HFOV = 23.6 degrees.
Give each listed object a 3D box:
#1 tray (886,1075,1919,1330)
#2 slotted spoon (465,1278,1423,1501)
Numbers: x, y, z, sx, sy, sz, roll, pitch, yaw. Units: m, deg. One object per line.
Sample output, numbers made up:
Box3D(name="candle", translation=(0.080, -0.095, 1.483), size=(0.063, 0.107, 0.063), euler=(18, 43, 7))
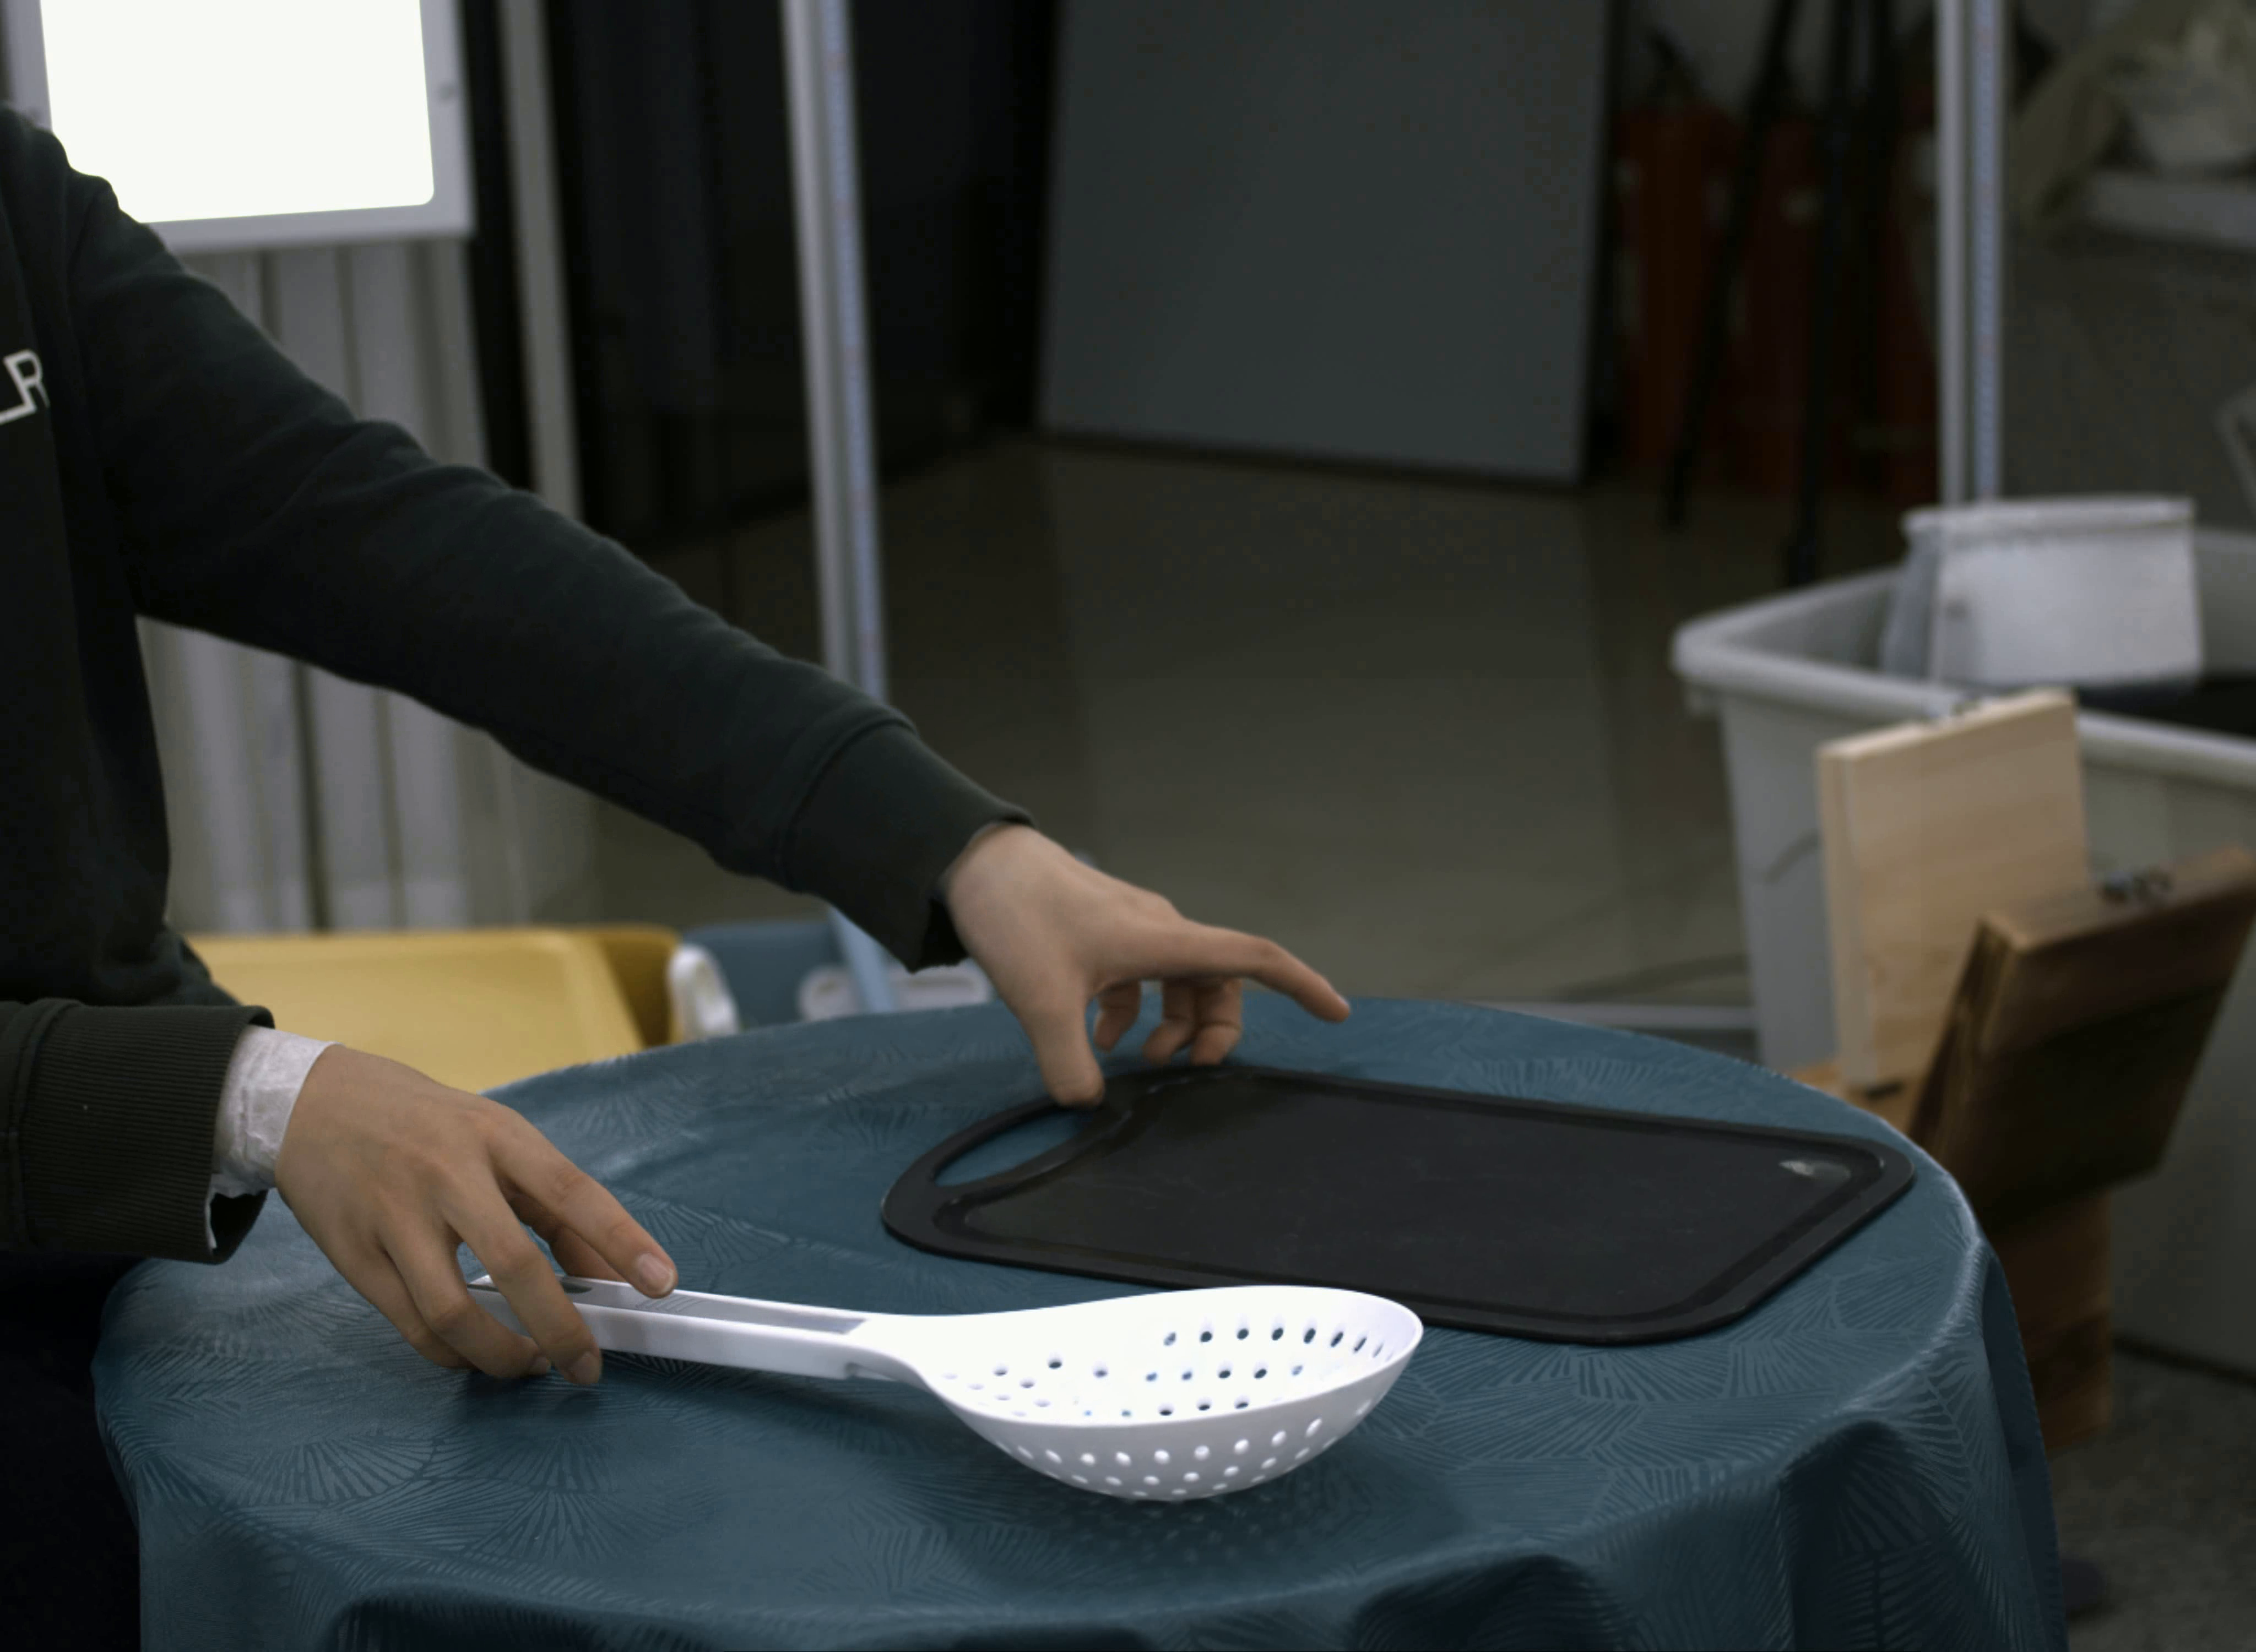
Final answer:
Box3D(name="tray", translation=(0.081, 0.118, 1.748), size=(0.327, 0.010, 0.208), euler=(4, 16, 32))
Box3D(name="slotted spoon", translation=(-0.066, 0.152, 1.570), size=(0.352, 0.046, 0.133), euler=(7, 15, 40))
